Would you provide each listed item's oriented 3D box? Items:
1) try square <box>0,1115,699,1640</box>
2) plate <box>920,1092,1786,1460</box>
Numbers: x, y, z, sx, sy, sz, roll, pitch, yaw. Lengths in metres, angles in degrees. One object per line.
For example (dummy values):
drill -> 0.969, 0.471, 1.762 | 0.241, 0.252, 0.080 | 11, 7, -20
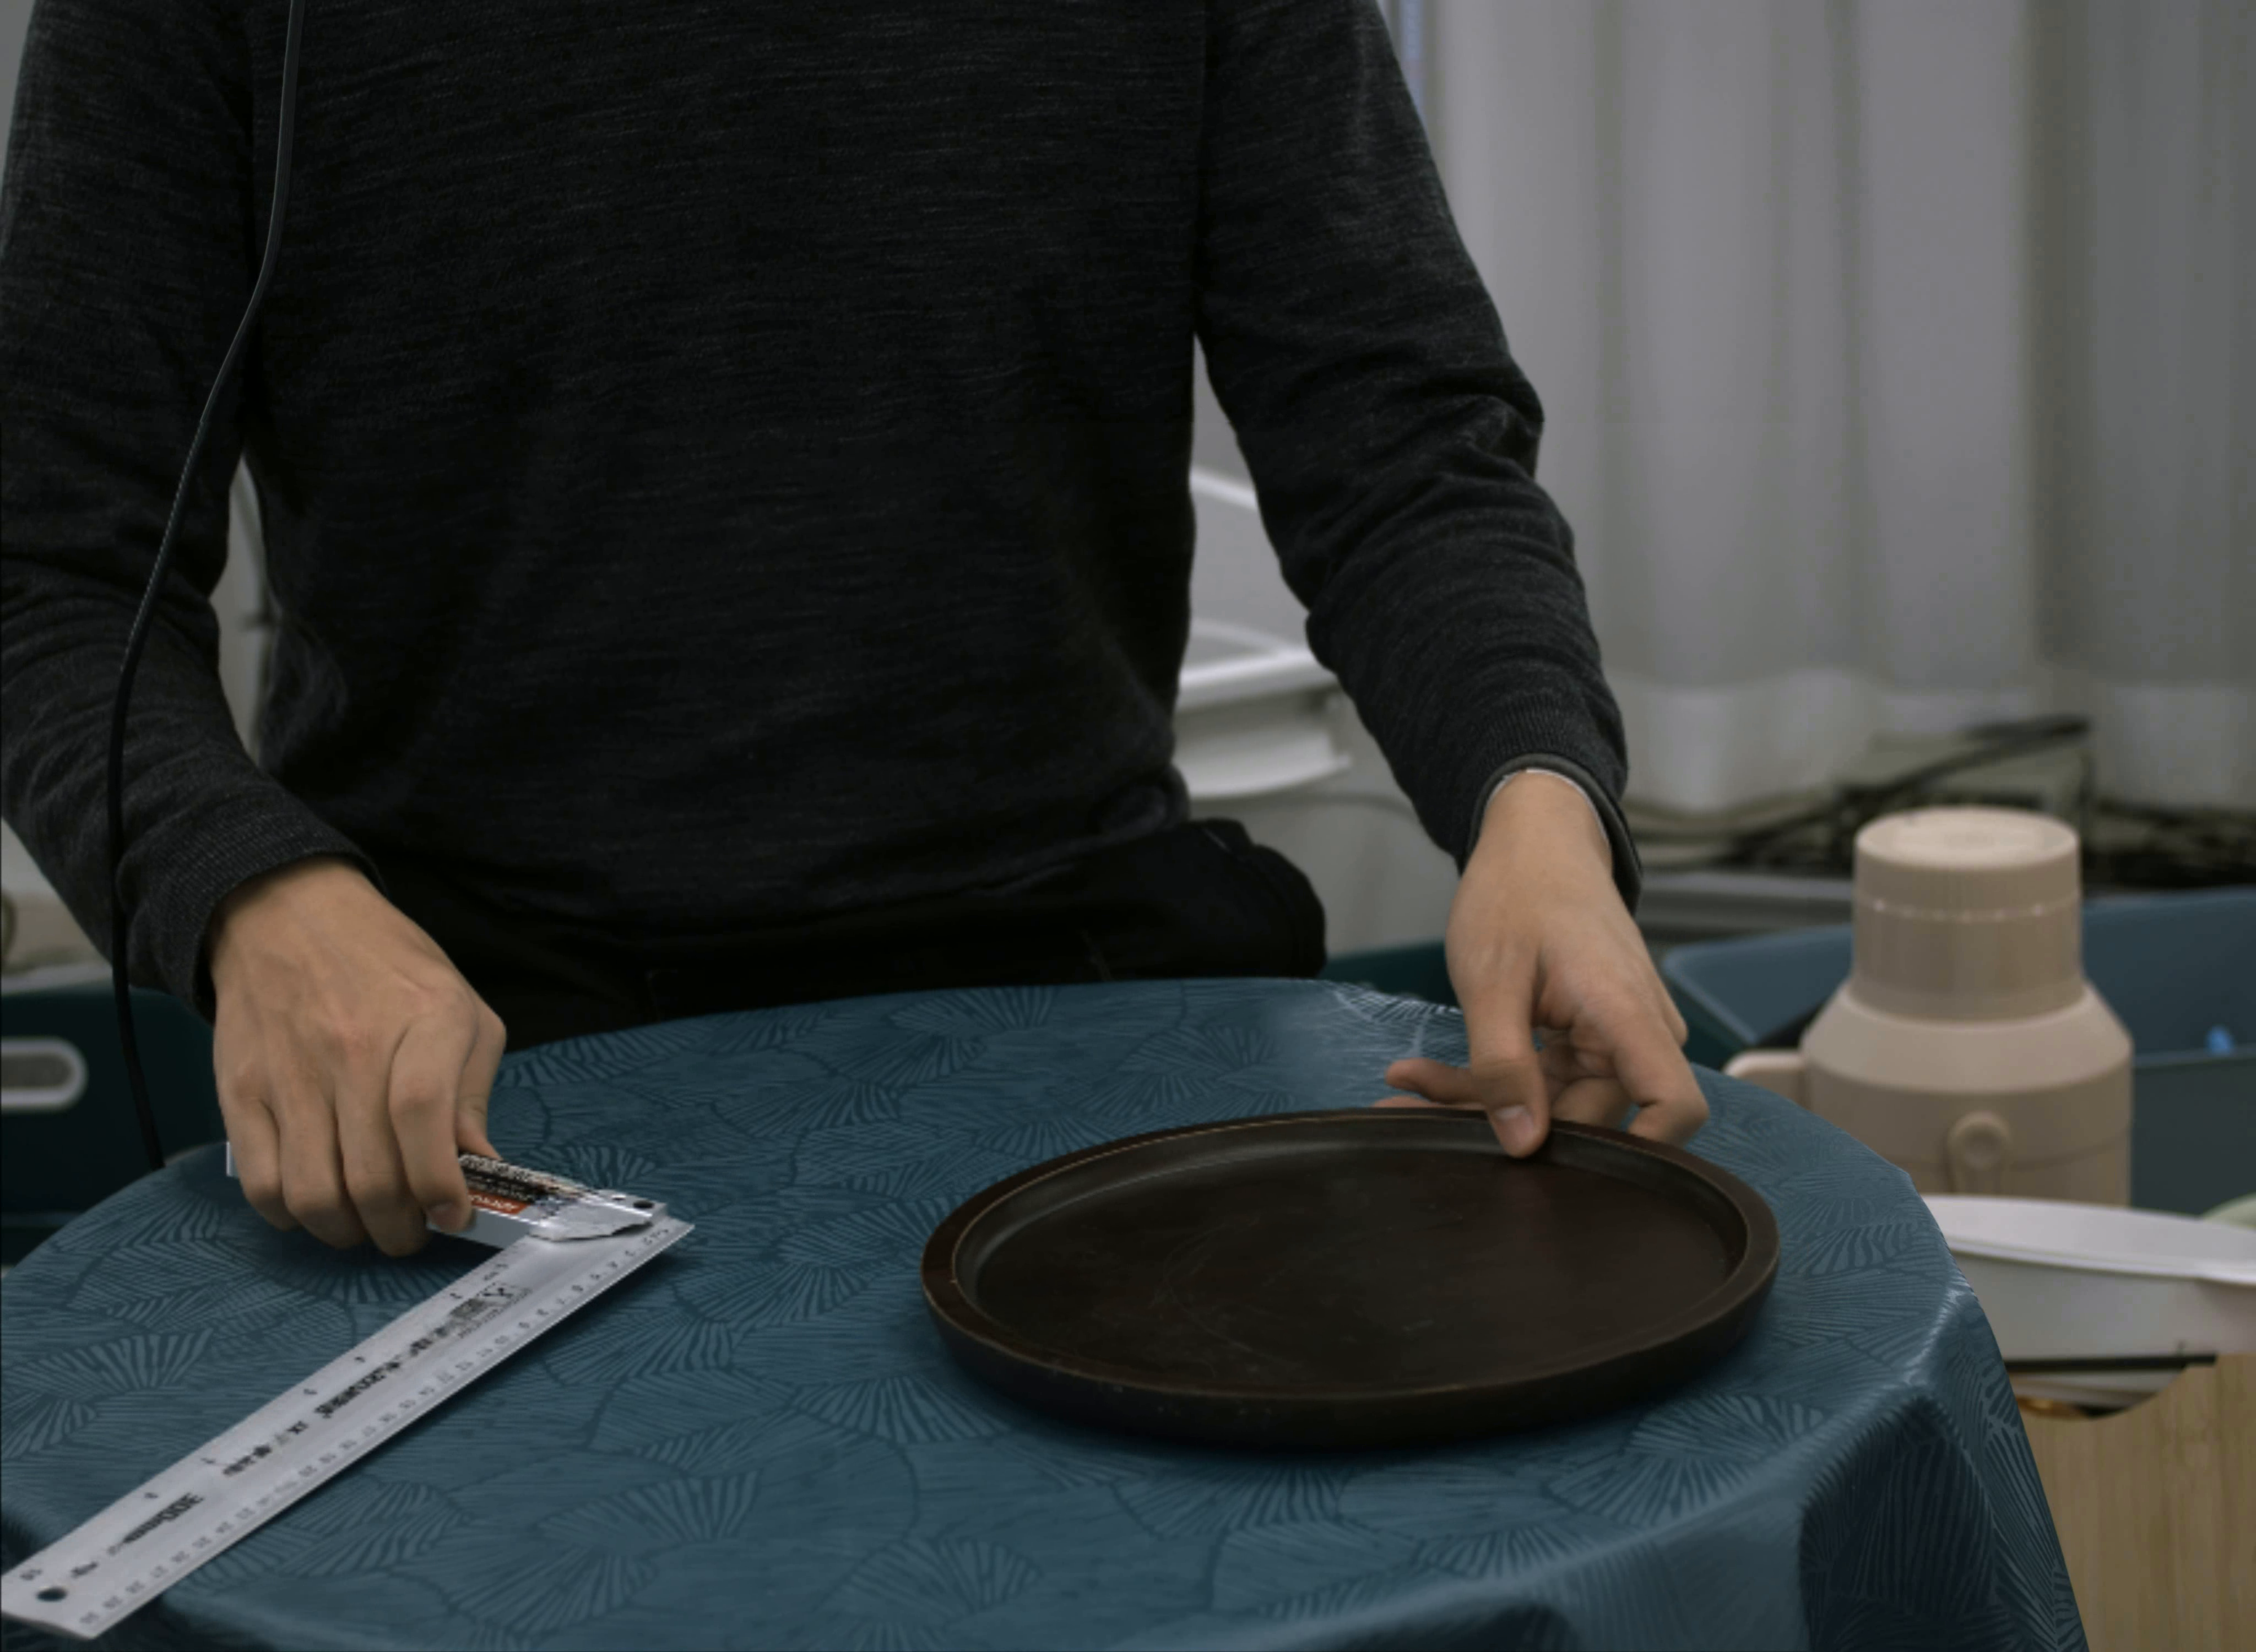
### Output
try square -> -0.264, 0.153, 1.574 | 0.152, 0.016, 0.314 | 11, 21, 24
plate -> 0.065, 0.131, 1.594 | 0.254, 0.029, 0.256 | -4, 16, 1
